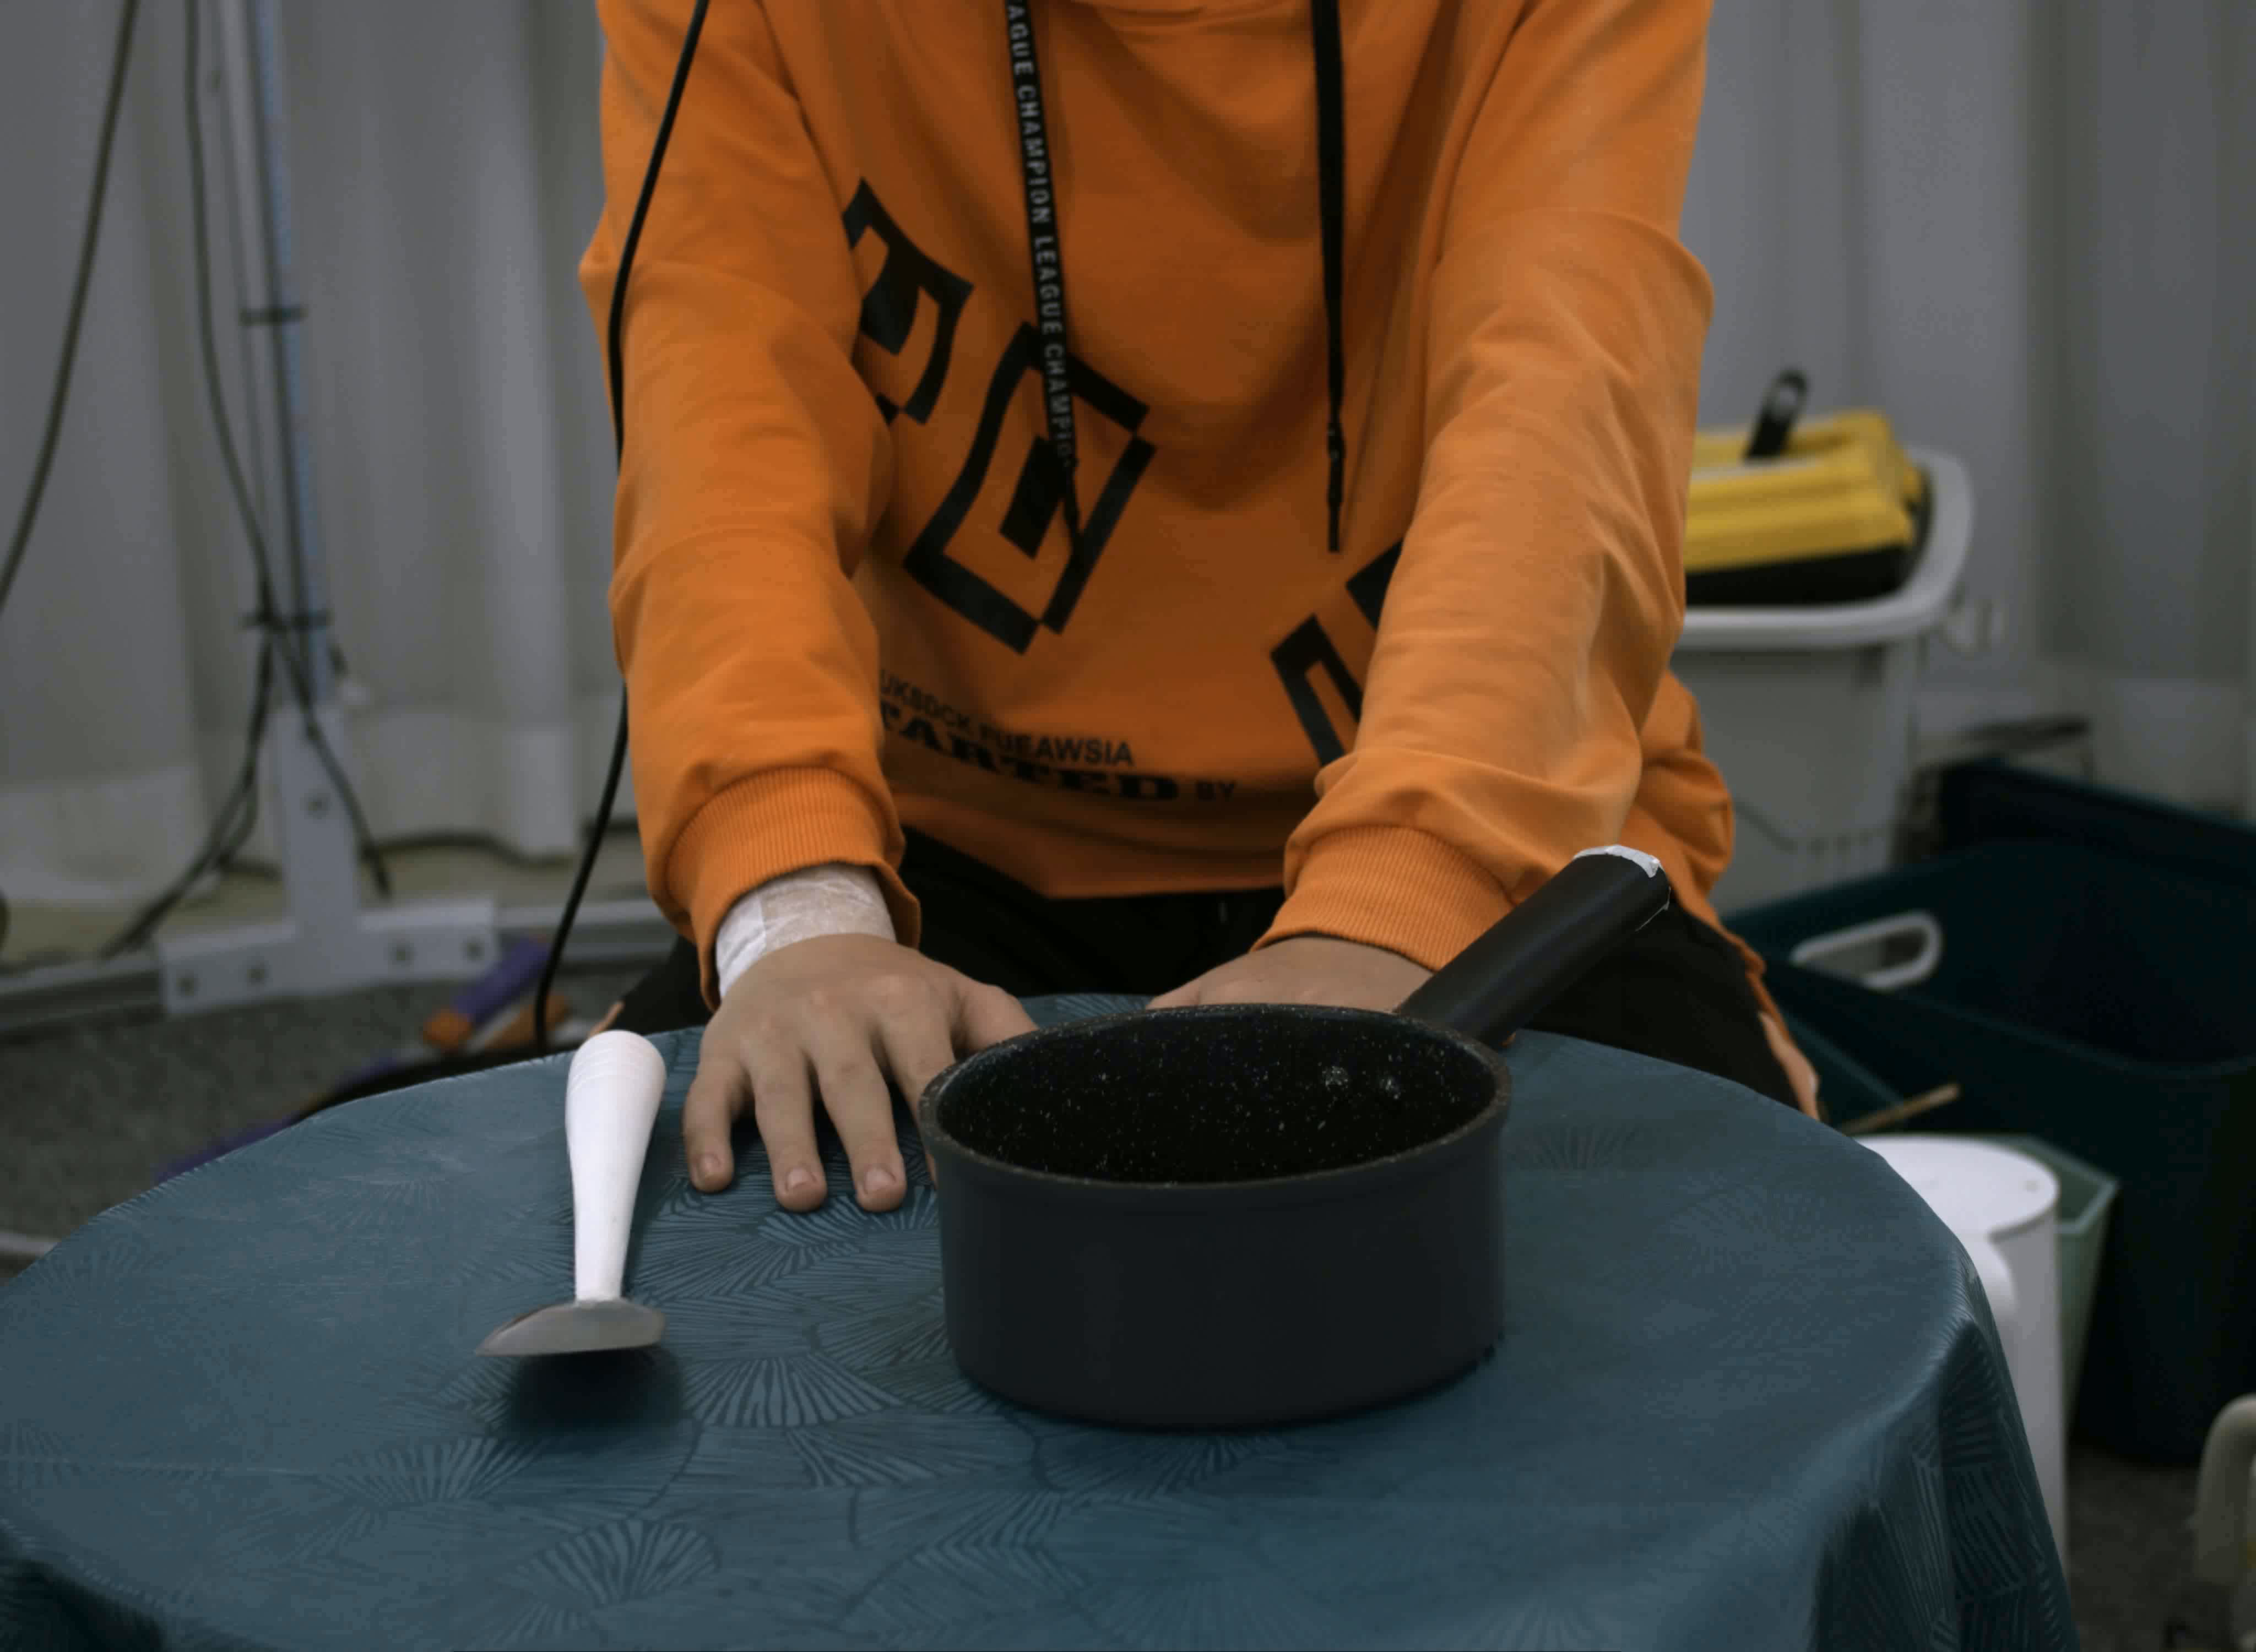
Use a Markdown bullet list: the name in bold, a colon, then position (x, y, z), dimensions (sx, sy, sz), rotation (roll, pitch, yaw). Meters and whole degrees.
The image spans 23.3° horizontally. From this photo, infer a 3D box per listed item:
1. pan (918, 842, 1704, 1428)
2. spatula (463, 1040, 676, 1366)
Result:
- **pan**: position (0.074, 0.089, 1.634), dimensions (0.172, 0.086, 0.329), rotation (9, 21, 36)
- **spatula**: position (-0.163, 0.121, 1.664), dimensions (0.058, 0.032, 0.289), rotation (0, 14, -2)
